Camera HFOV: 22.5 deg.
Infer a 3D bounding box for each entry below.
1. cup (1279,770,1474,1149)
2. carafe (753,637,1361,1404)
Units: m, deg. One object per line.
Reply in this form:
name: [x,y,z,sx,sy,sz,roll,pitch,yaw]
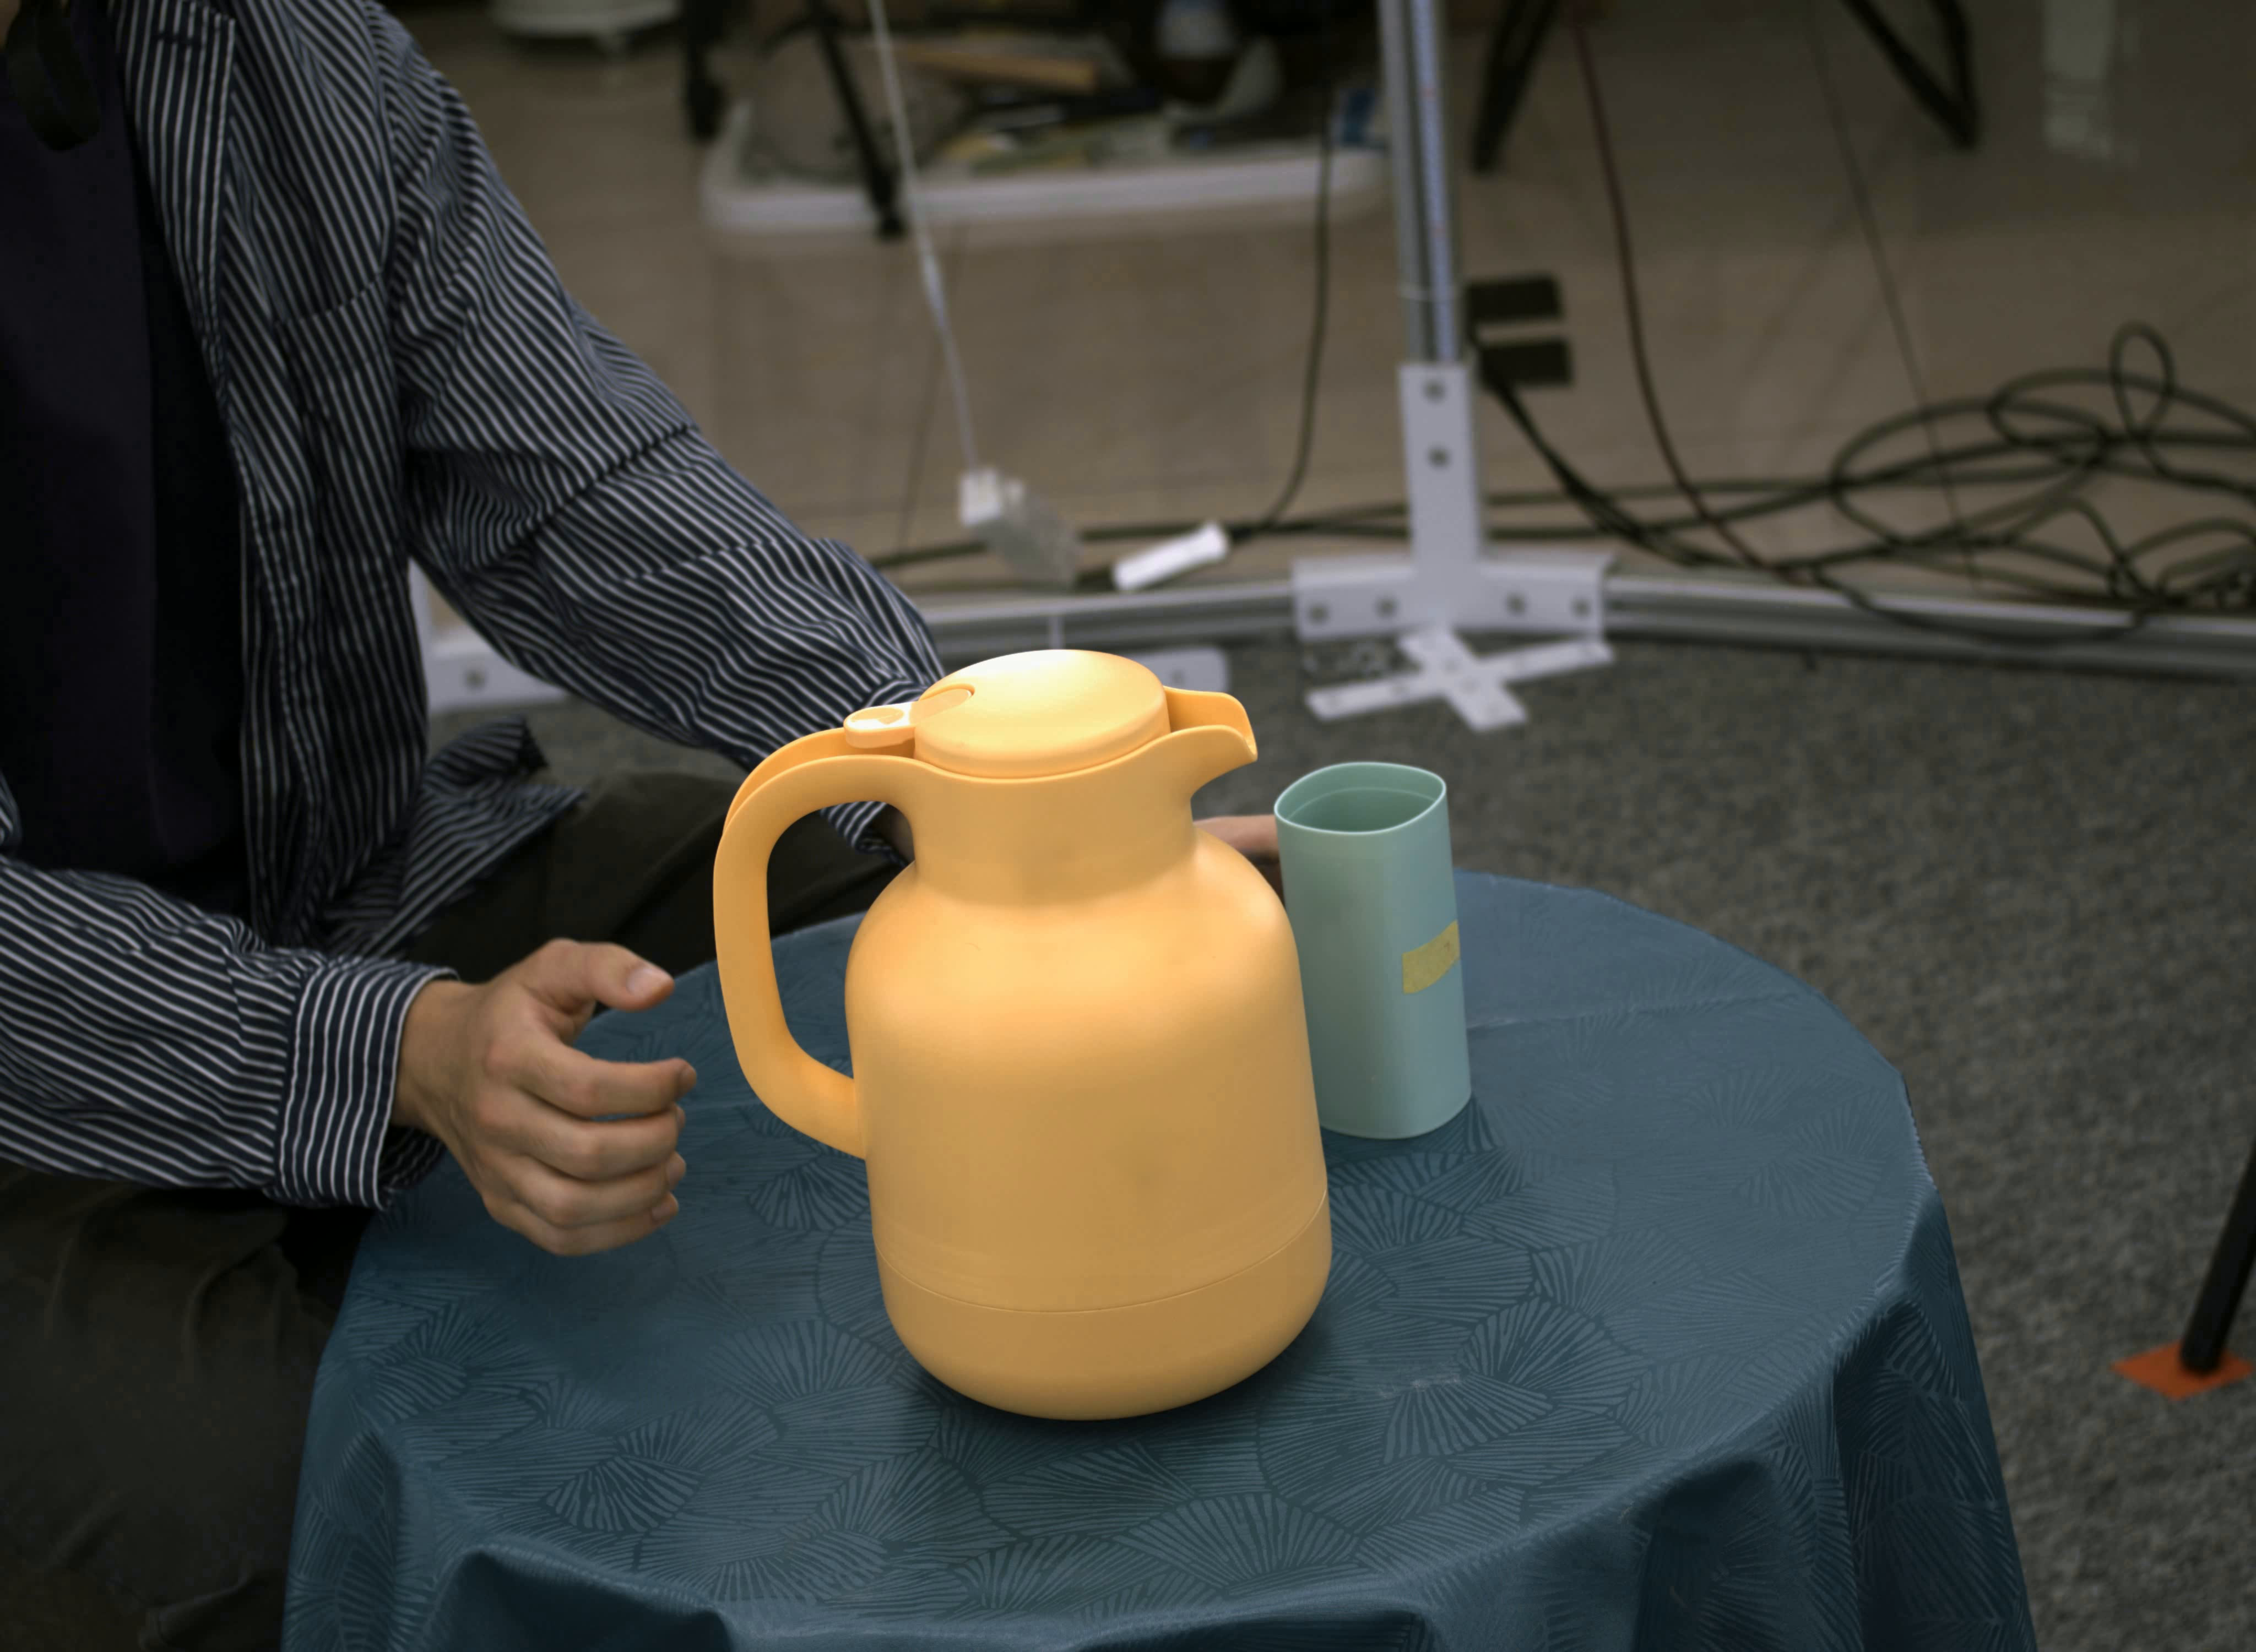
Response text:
cup: [0.094,0.051,2.167,0.066,0.134,0.066,-5,27,3]
carafe: [-0.026,0.065,2.004,0.202,0.264,0.161,-5,25,3]
